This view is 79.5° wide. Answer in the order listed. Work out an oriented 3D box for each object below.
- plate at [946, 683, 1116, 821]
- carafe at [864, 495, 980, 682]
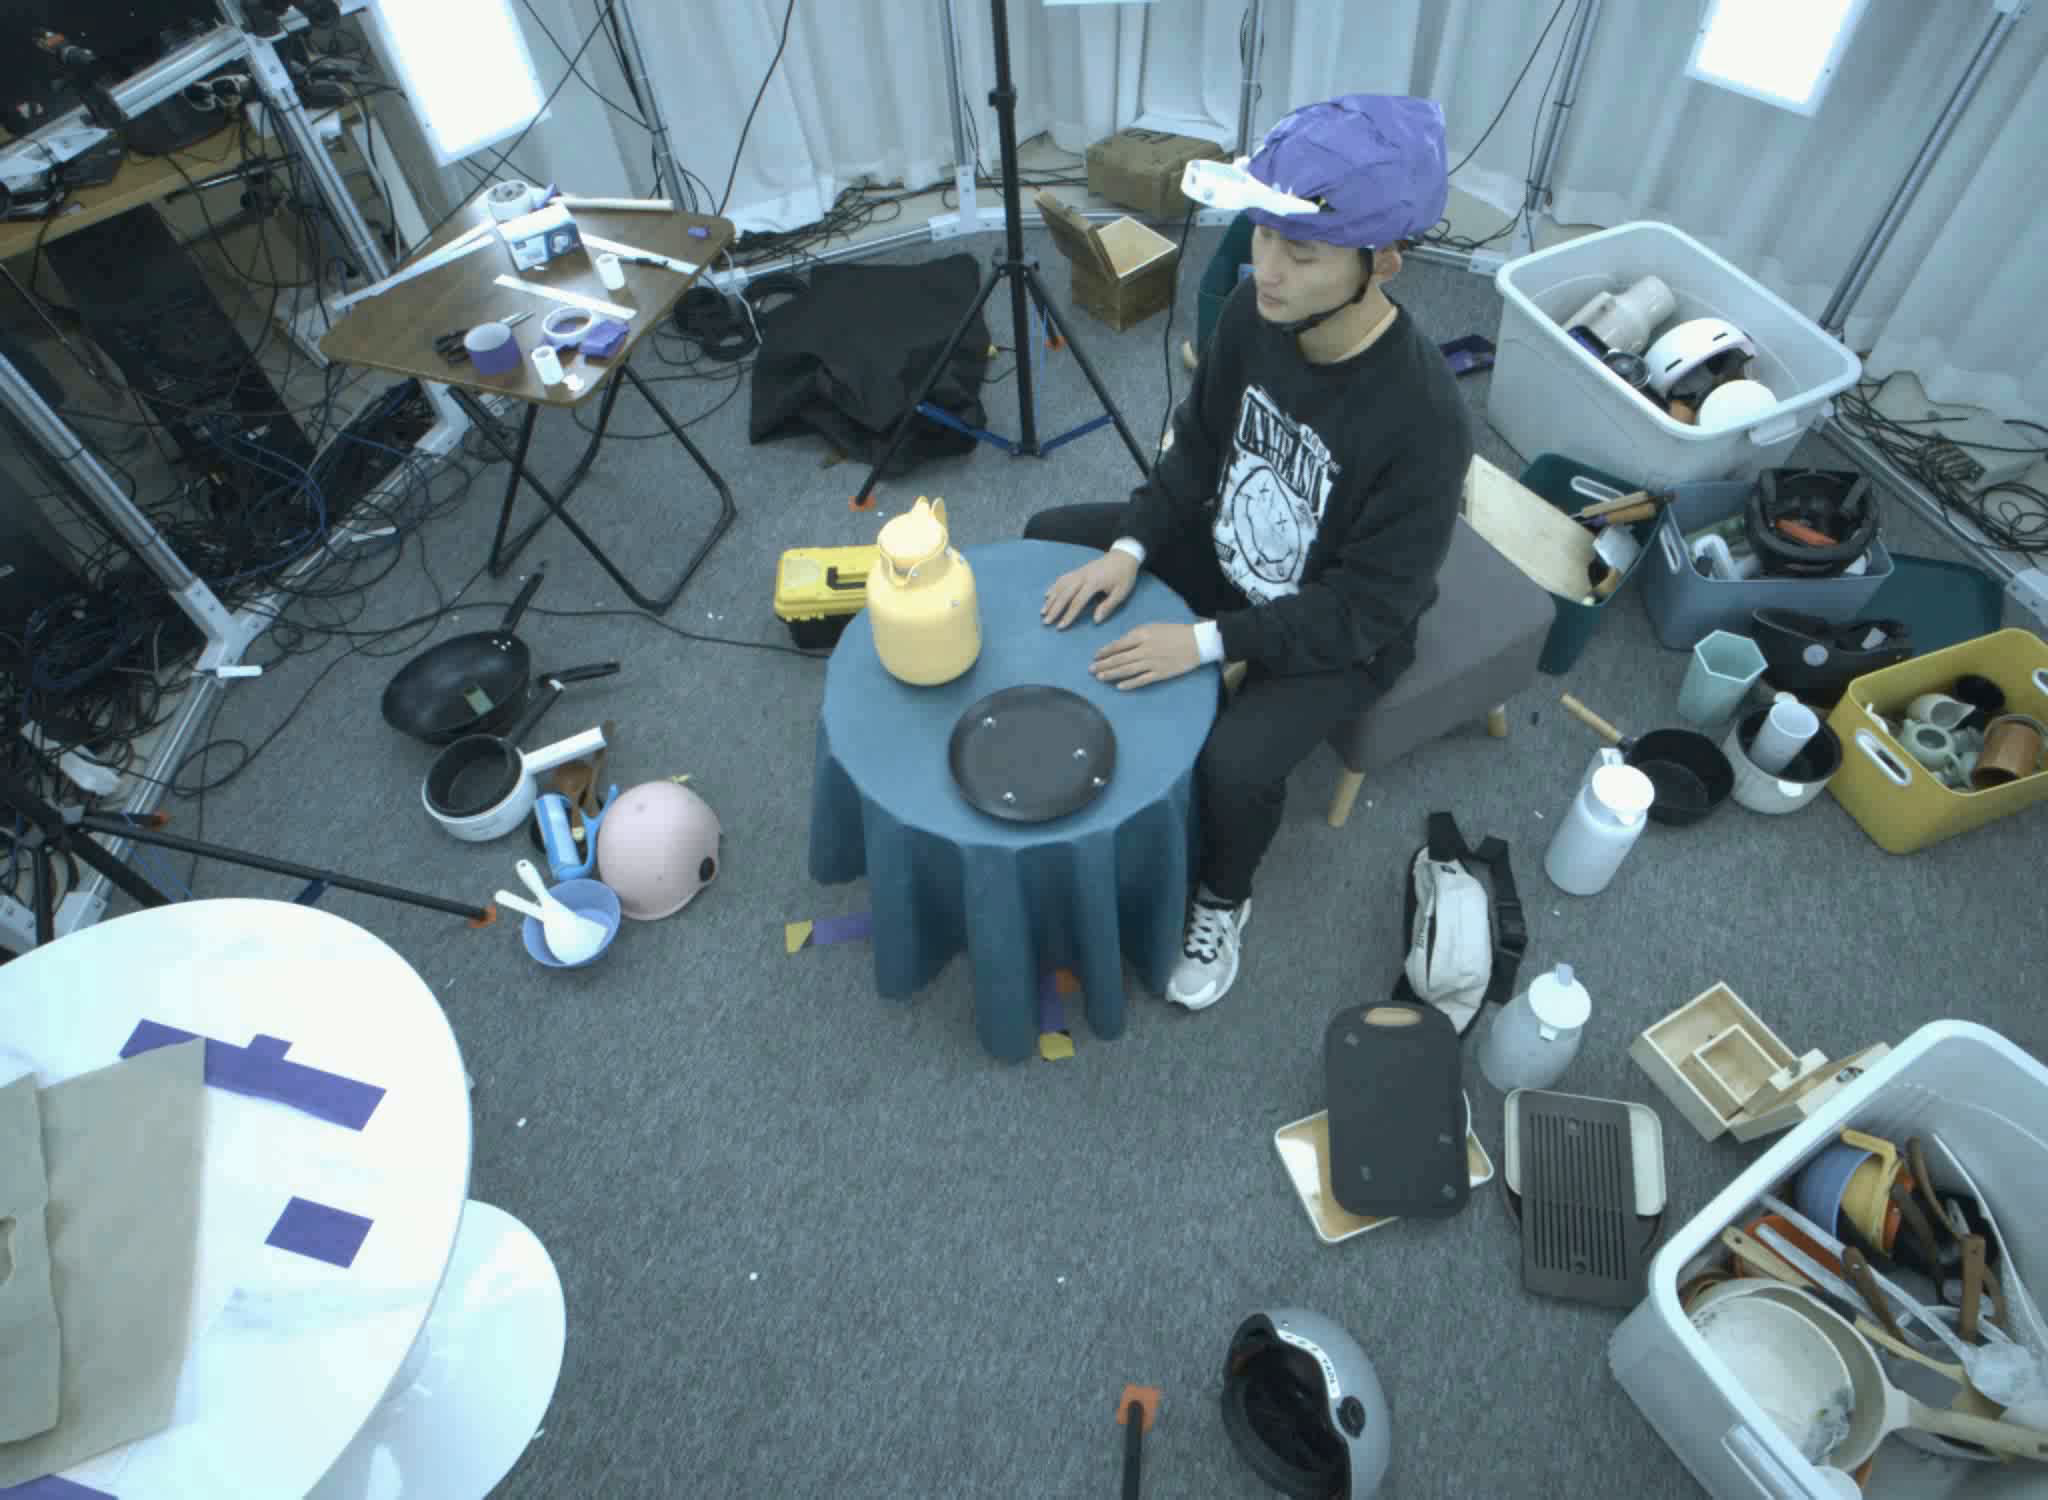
[{"bbox_3d":[0.010,0.004,1.765,0.244,0.023,0.242,0,55,2],"label":"plate"},{"bbox_3d":[-0.146,-0.243,1.798,0.162,0.263,0.201,11,58,8],"label":"carafe"}]
